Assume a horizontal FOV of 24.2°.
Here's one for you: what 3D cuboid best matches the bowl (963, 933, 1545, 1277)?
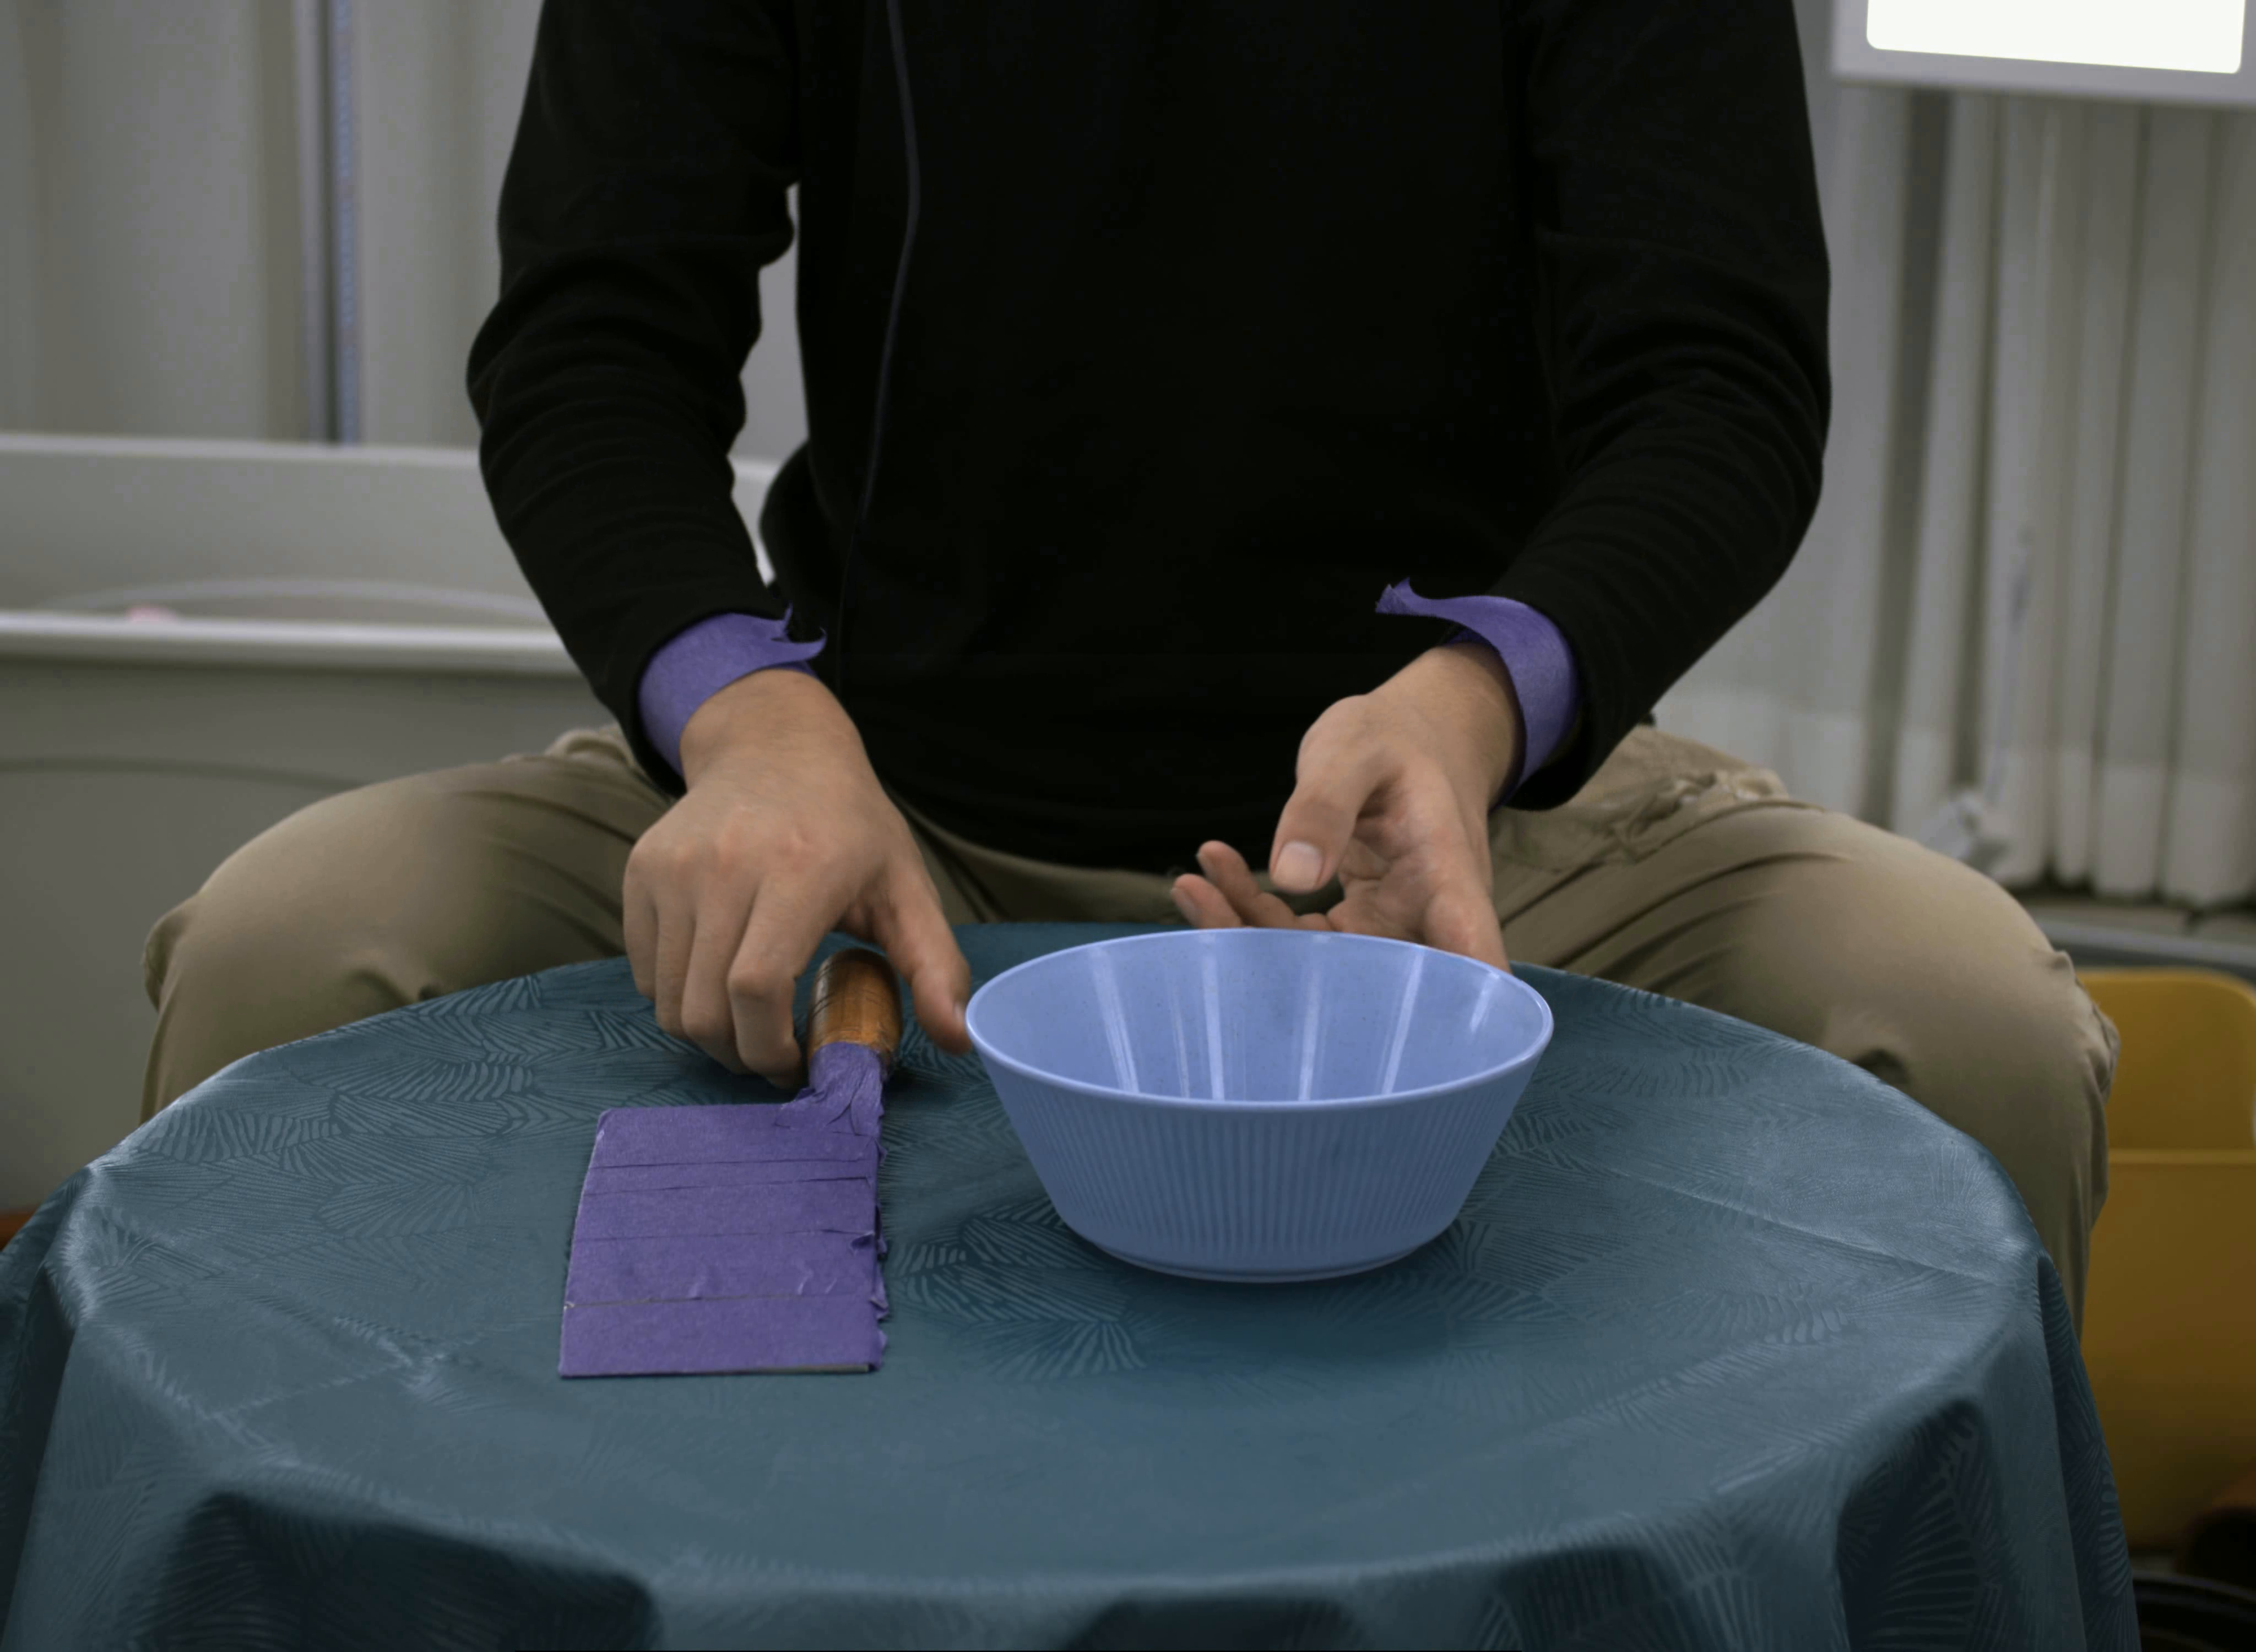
[{"bbox_3d":[0.037,0.086,1.584,0.175,0.071,0.175,1,15,0],"label":"bowl"}]

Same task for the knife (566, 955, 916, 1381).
[{"bbox_3d":[-0.117,0.101,1.612,0.103,0.032,0.313,0,16,-3],"label":"knife"}]
